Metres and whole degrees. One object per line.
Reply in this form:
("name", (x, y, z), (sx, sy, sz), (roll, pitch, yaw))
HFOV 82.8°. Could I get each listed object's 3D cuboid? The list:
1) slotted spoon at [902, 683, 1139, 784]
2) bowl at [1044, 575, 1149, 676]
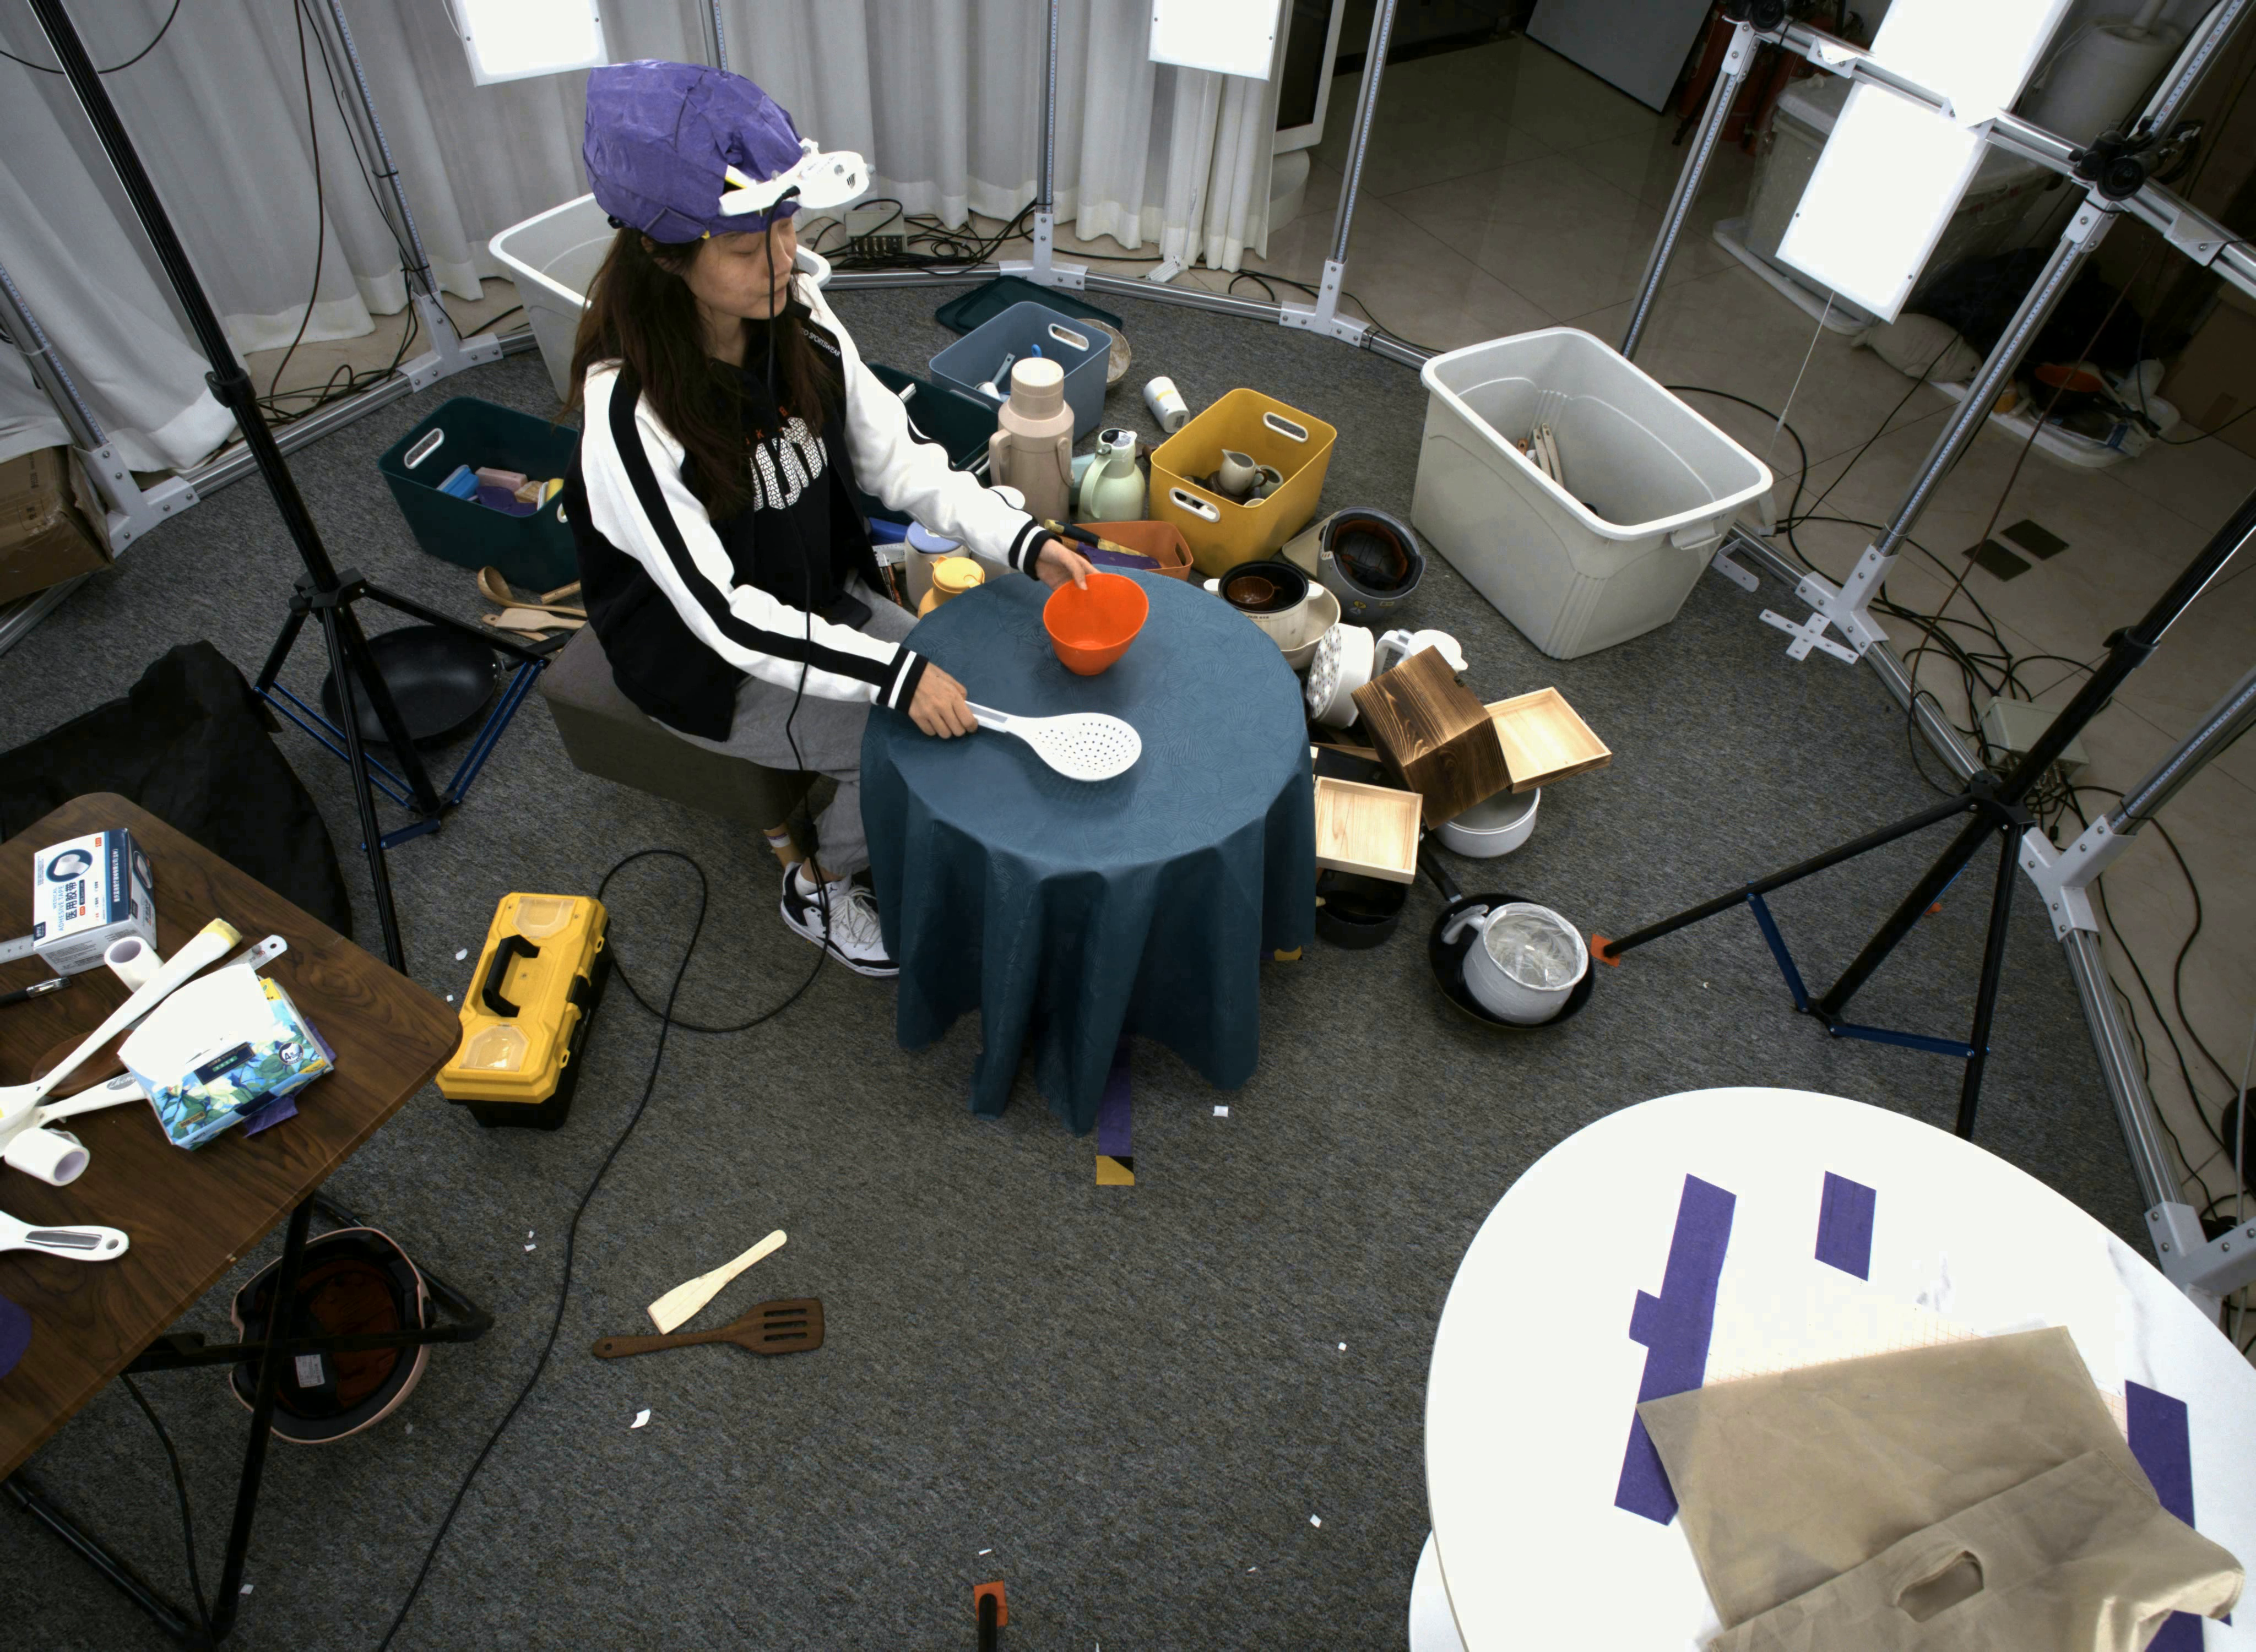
("slotted spoon", (-0.151, -0.135, 1.744), (0.352, 0.044, 0.138), (22, 47, 14))
("bowl", (-0.047, -0.277, 1.843), (0.148, 0.102, 0.151), (1, 51, -2))
